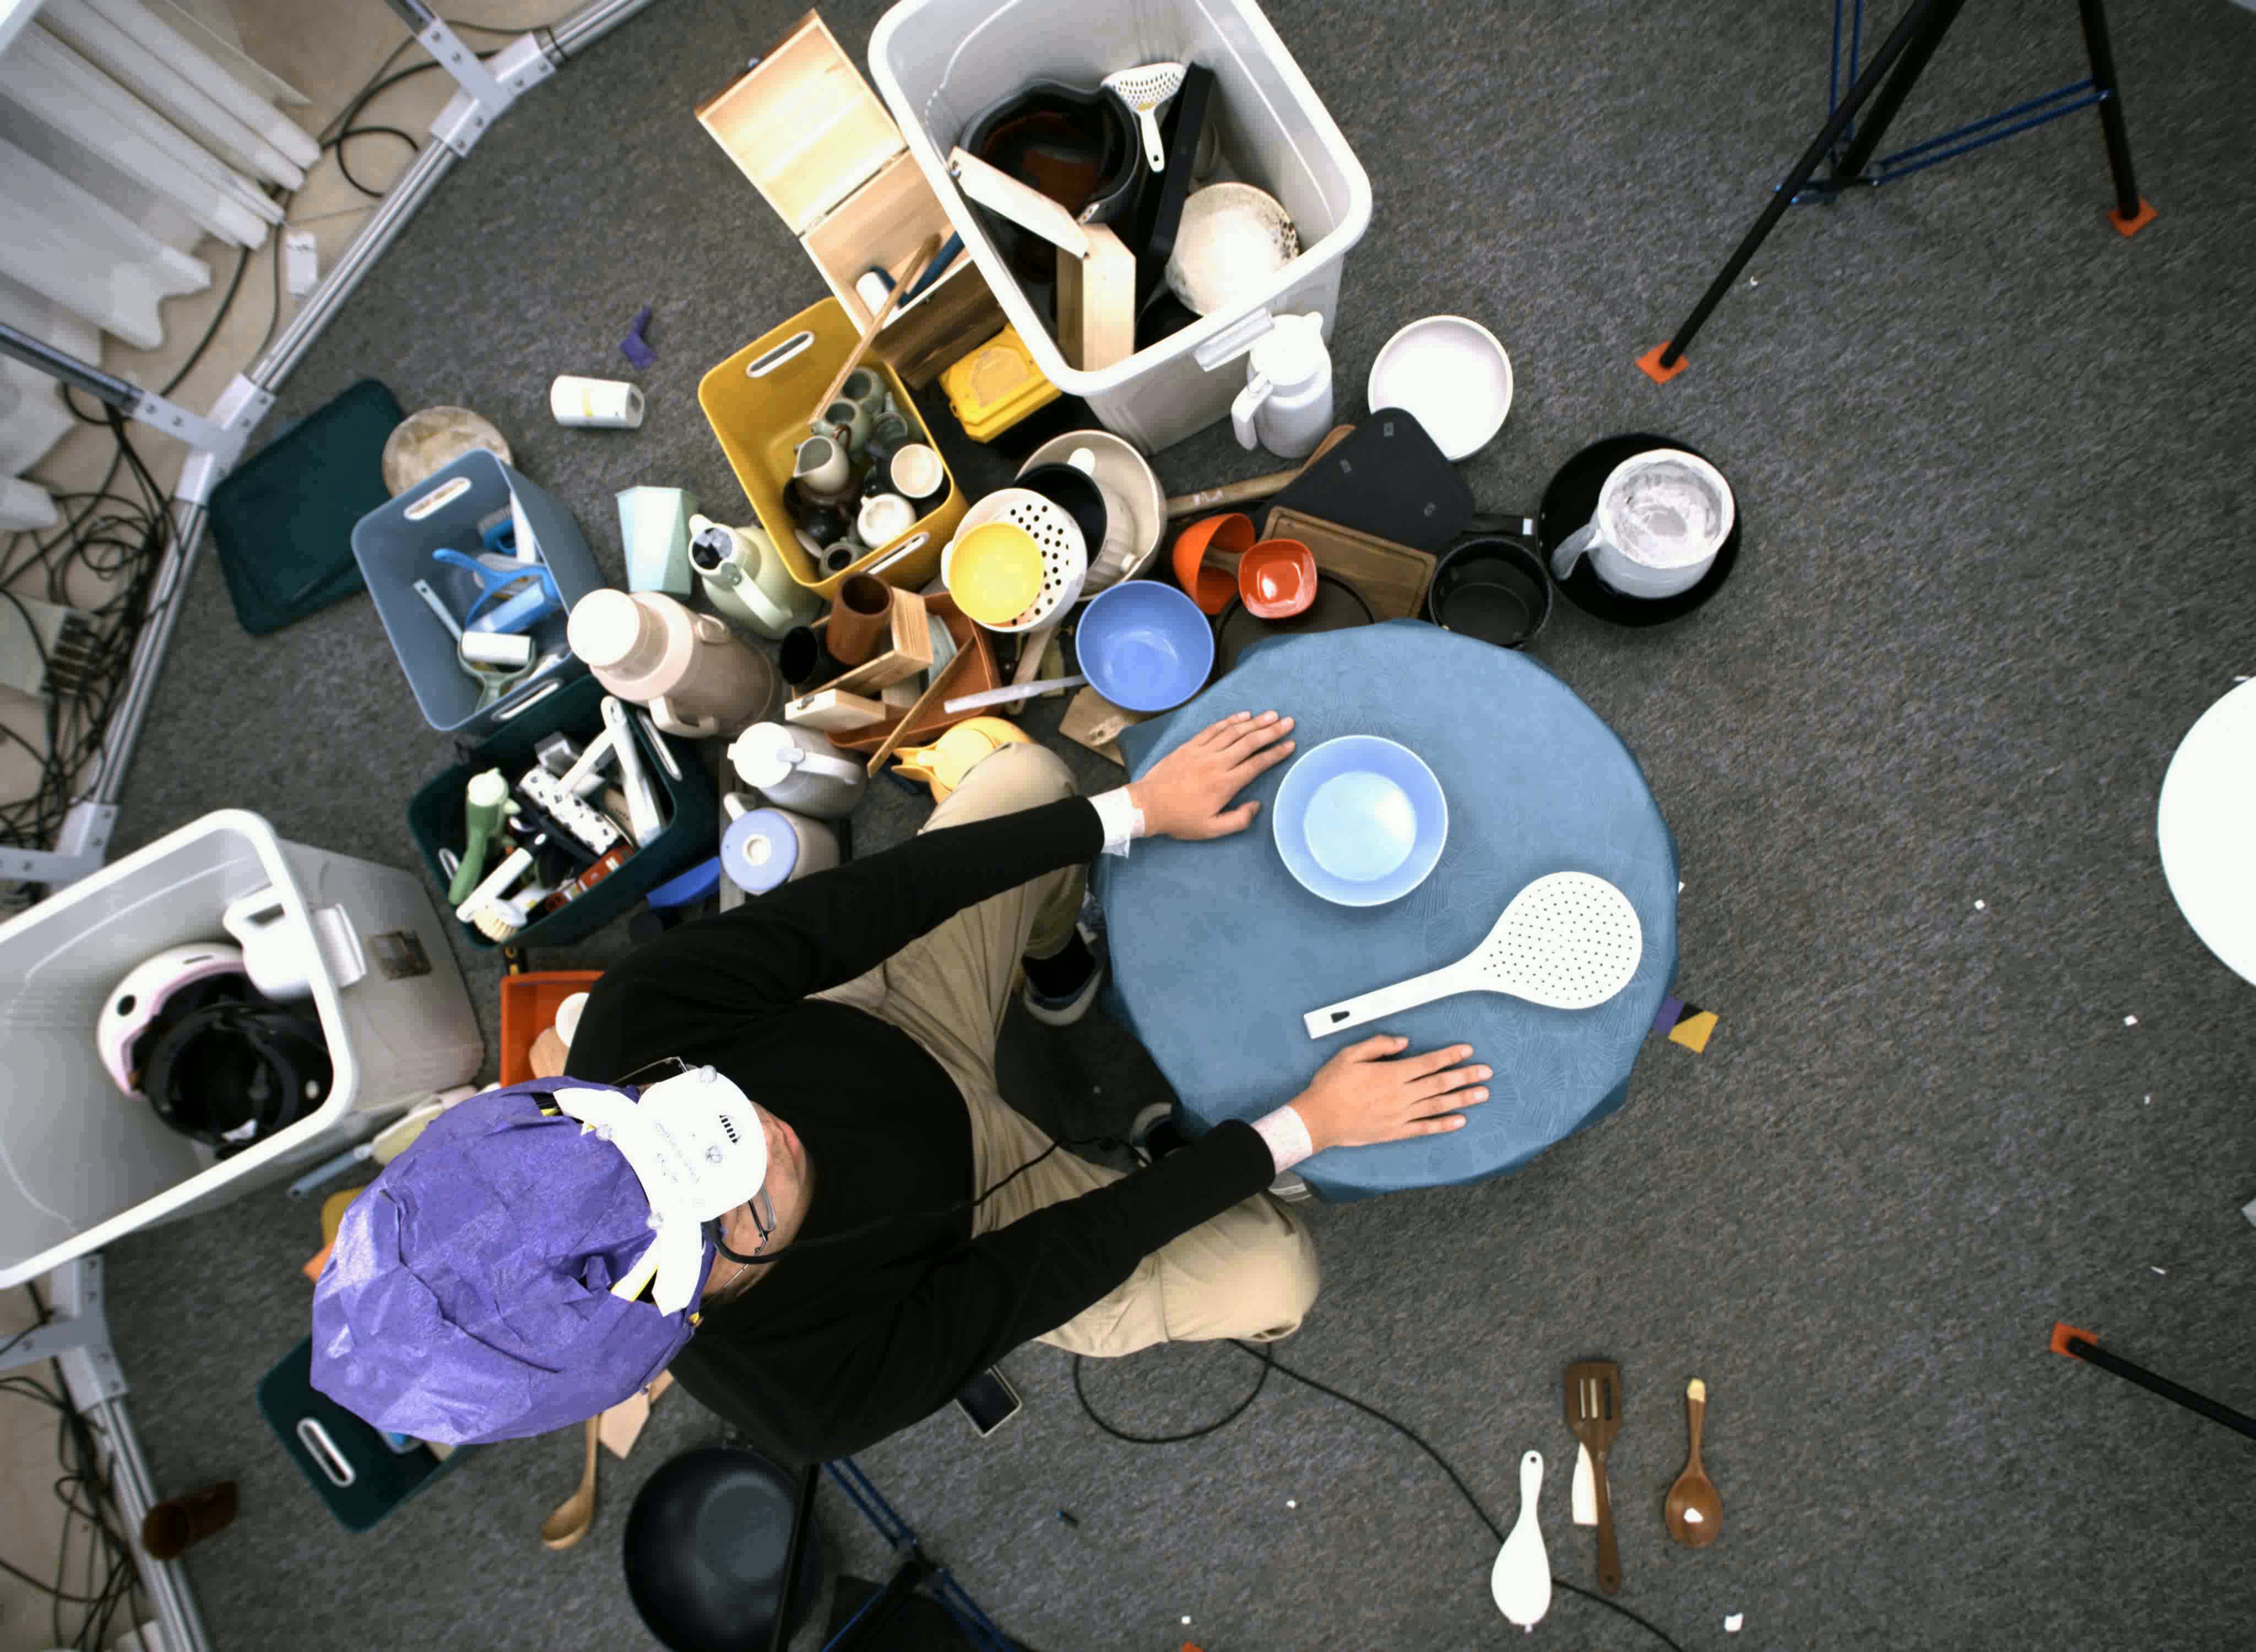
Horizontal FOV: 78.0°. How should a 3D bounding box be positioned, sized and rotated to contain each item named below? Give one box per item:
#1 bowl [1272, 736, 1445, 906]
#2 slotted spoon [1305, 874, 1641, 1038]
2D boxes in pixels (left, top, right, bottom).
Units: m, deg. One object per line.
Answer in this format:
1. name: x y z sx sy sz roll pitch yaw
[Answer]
1. bowl: 0.240 -0.004 1.435 0.177 0.070 0.175 -1 87 11
2. slotted spoon: 0.350 0.152 1.418 0.352 0.046 0.135 -20 83 10
